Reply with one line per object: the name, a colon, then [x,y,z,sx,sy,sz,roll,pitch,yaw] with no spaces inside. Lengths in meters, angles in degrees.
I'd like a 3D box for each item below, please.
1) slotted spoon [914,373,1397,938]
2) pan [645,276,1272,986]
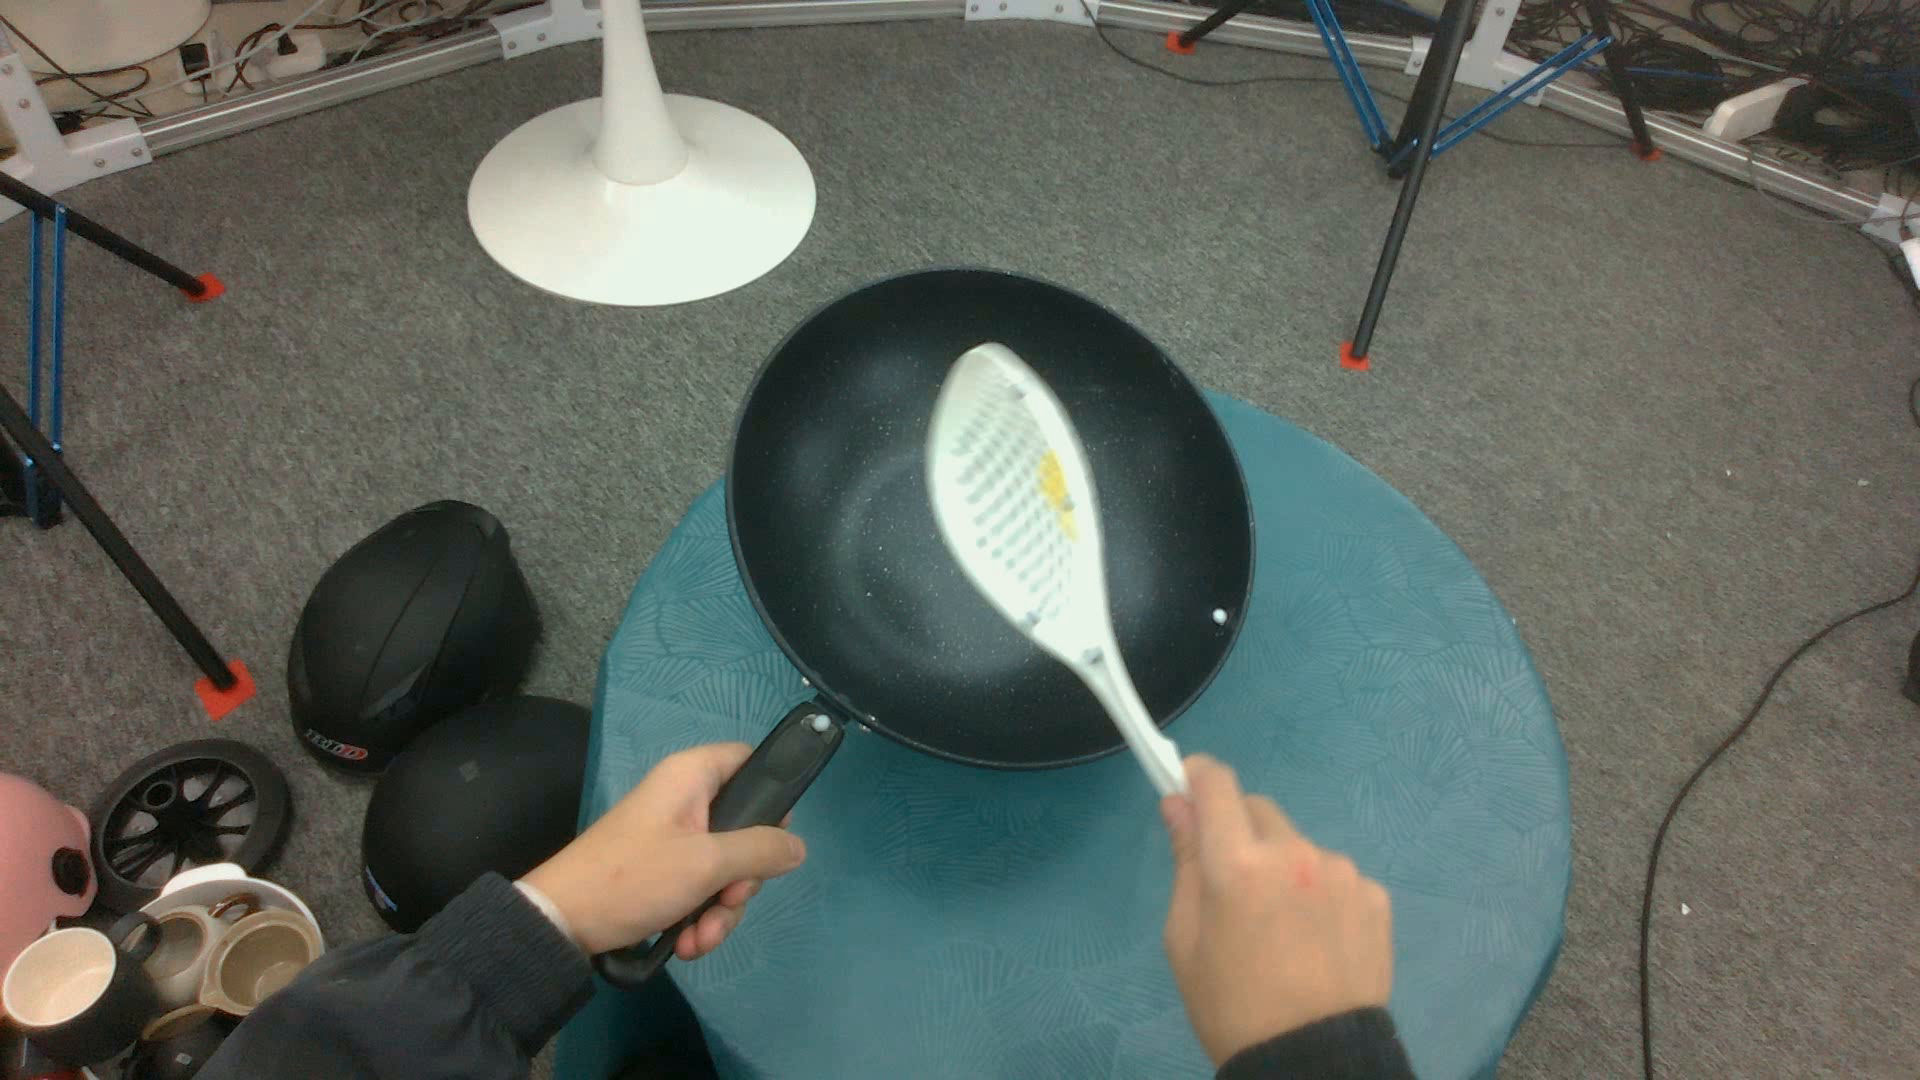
slotted spoon: [0.084,0.056,0.679,0.050,0.136,0.348,-19,59,-27]
pan: [-0.017,0.048,0.774,0.310,0.111,0.479,34,62,5]
